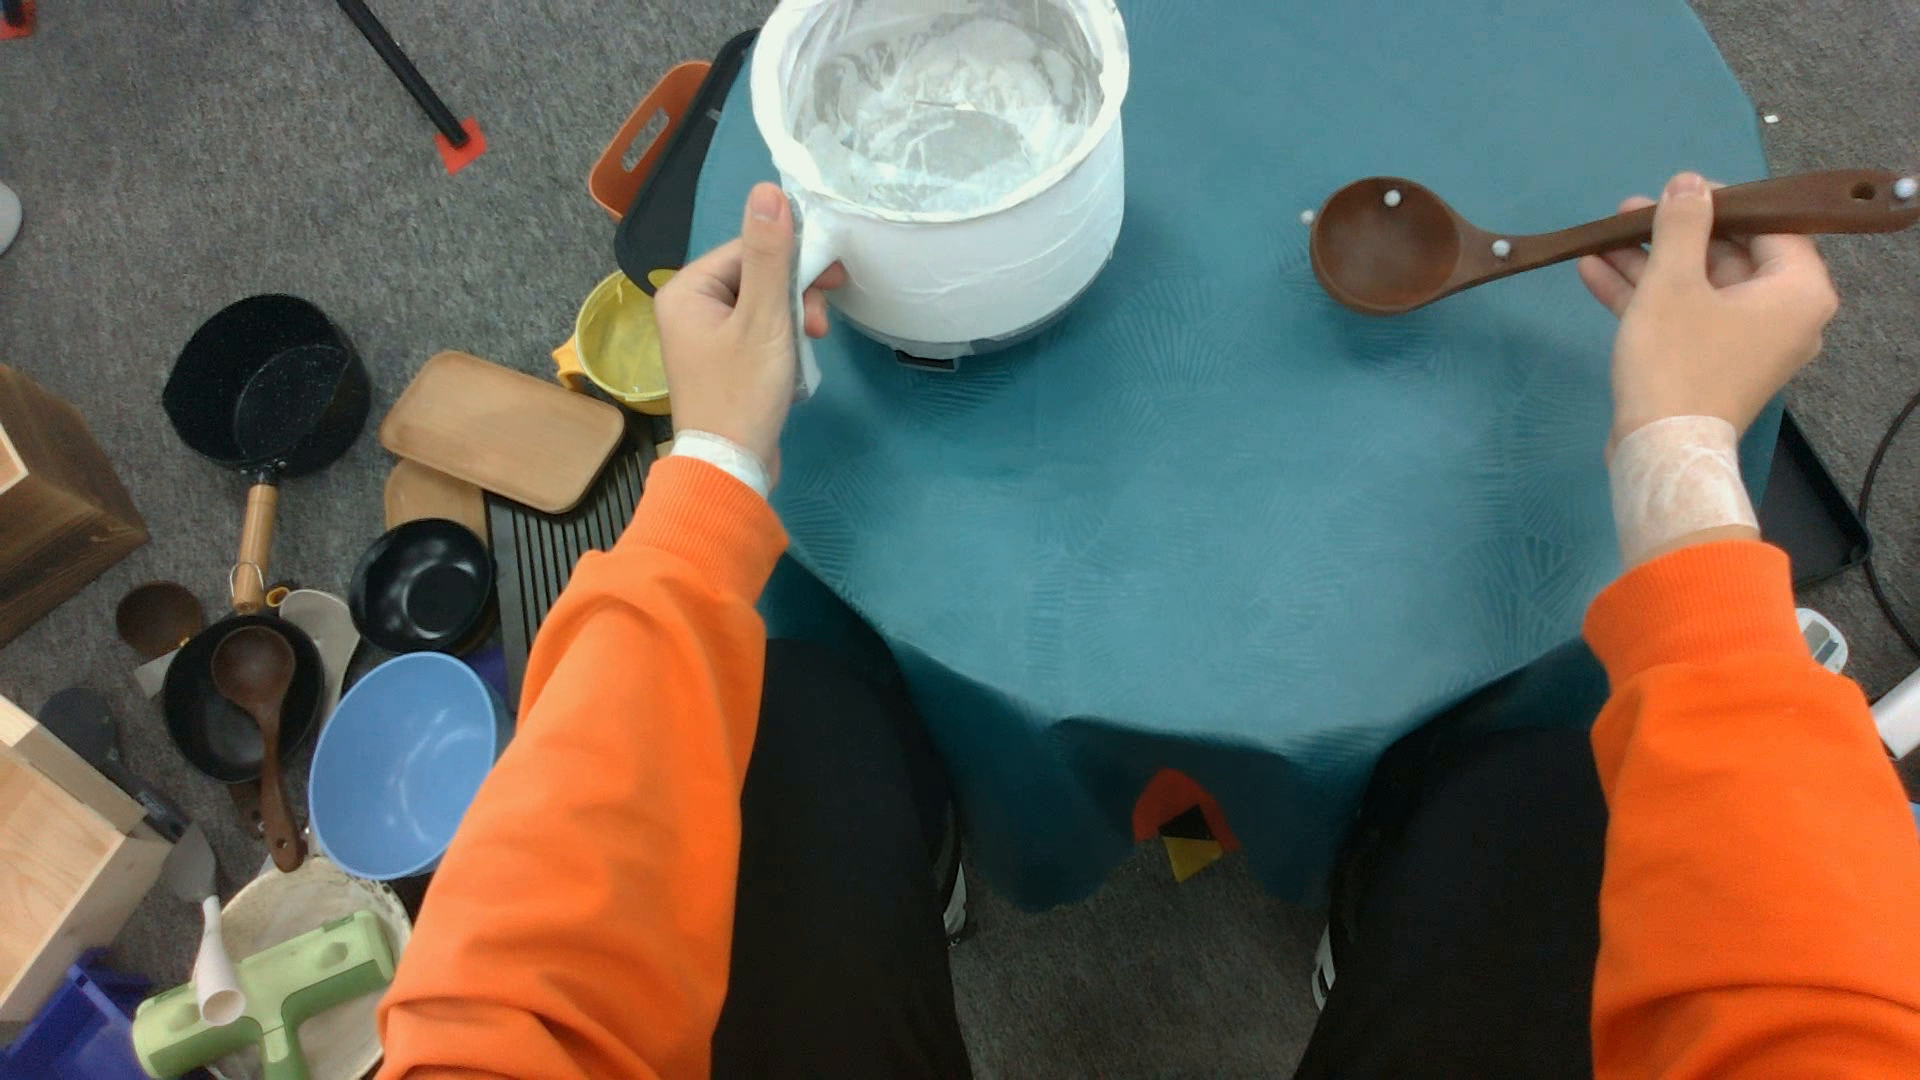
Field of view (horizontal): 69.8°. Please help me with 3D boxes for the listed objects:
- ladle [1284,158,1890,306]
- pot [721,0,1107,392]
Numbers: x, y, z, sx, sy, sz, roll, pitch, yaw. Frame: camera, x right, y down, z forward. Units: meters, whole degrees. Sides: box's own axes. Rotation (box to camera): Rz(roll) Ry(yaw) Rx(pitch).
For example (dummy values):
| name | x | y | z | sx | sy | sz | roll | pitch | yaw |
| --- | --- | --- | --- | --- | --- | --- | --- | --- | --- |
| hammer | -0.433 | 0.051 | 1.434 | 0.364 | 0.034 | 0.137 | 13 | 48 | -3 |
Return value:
| name | x | y | z | sx | sy | sz | roll | pitch | yaw |
| --- | --- | --- | --- | --- | --- | --- | --- | --- | --- |
| ladle | 0.275 | -0.154 | 0.643 | 0.259 | 0.065 | 0.076 | 1 | 76 | 45 |
| pot | -0.033 | -0.180 | 0.693 | 0.179 | 0.136 | 0.234 | 36 | 73 | 19 |
